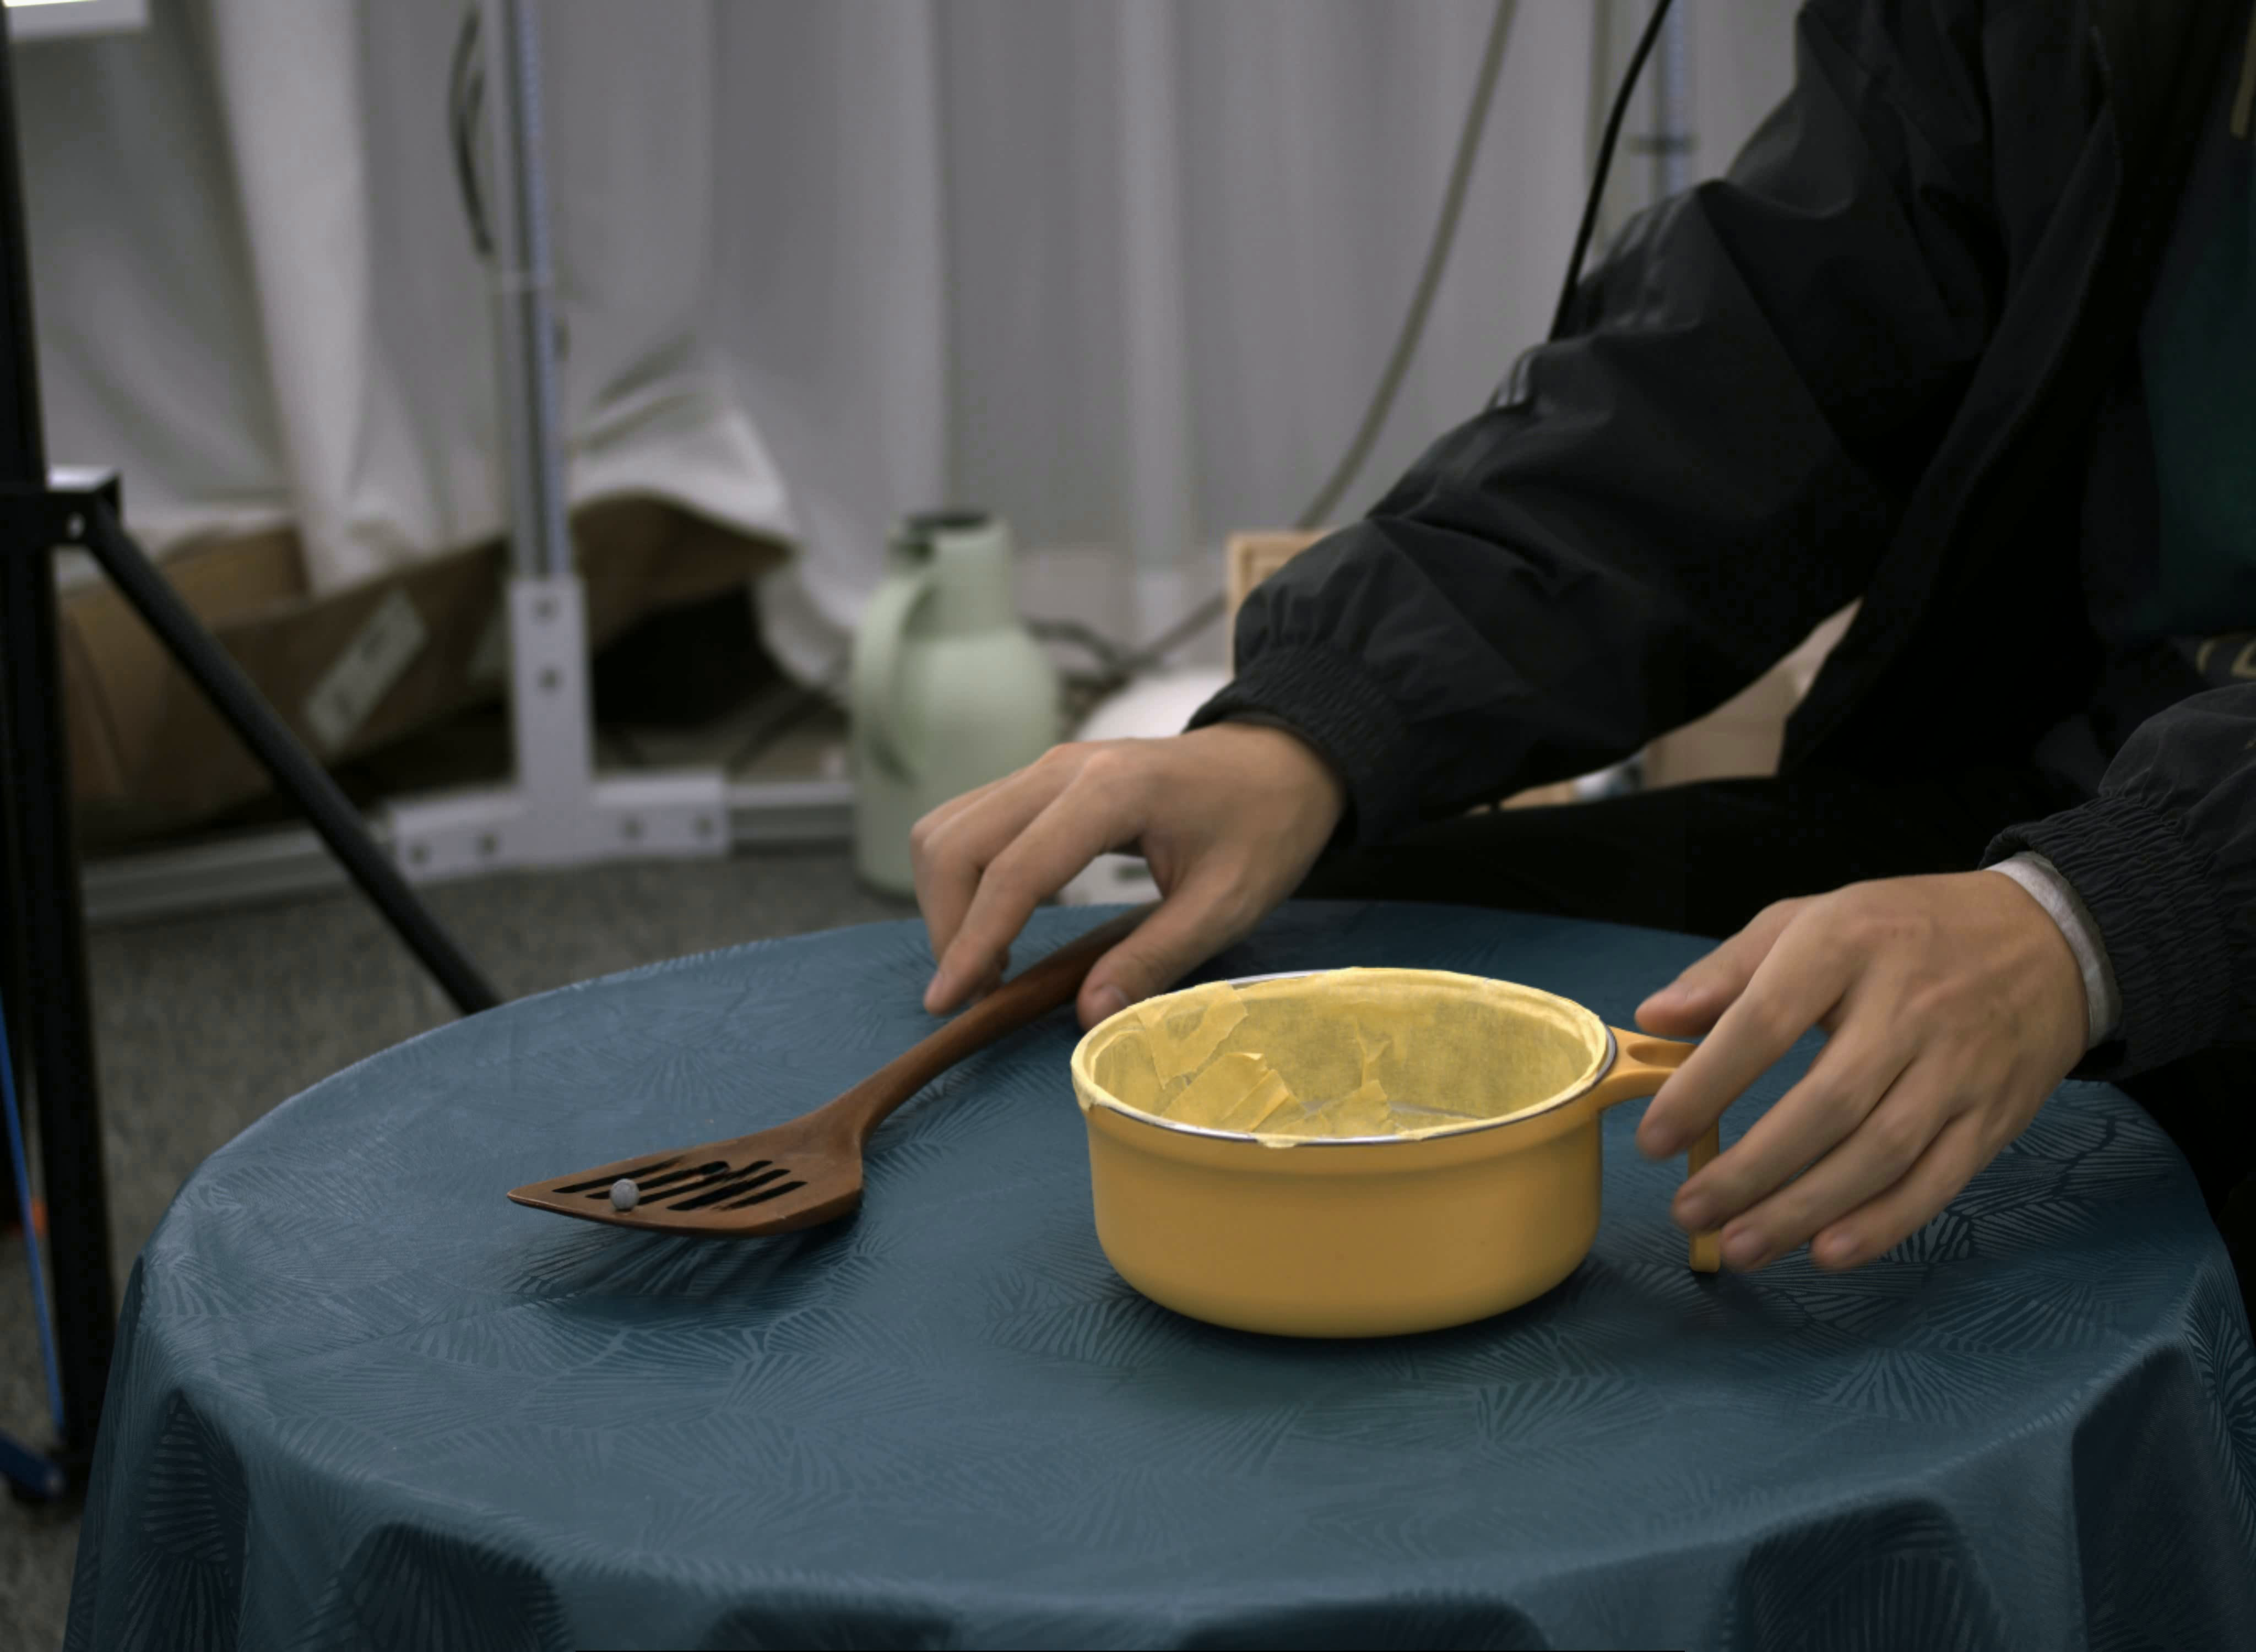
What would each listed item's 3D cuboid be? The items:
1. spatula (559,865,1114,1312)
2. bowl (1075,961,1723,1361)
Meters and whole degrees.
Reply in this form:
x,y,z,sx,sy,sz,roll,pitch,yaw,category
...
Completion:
x,y,z,sx,sy,sz,roll,pitch,yaw,category
-0.071,0.078,1.660,0.086,0.024,0.383,11,22,15,spatula
0.076,0.096,1.476,0.178,0.074,0.154,-3,16,-1,bowl
